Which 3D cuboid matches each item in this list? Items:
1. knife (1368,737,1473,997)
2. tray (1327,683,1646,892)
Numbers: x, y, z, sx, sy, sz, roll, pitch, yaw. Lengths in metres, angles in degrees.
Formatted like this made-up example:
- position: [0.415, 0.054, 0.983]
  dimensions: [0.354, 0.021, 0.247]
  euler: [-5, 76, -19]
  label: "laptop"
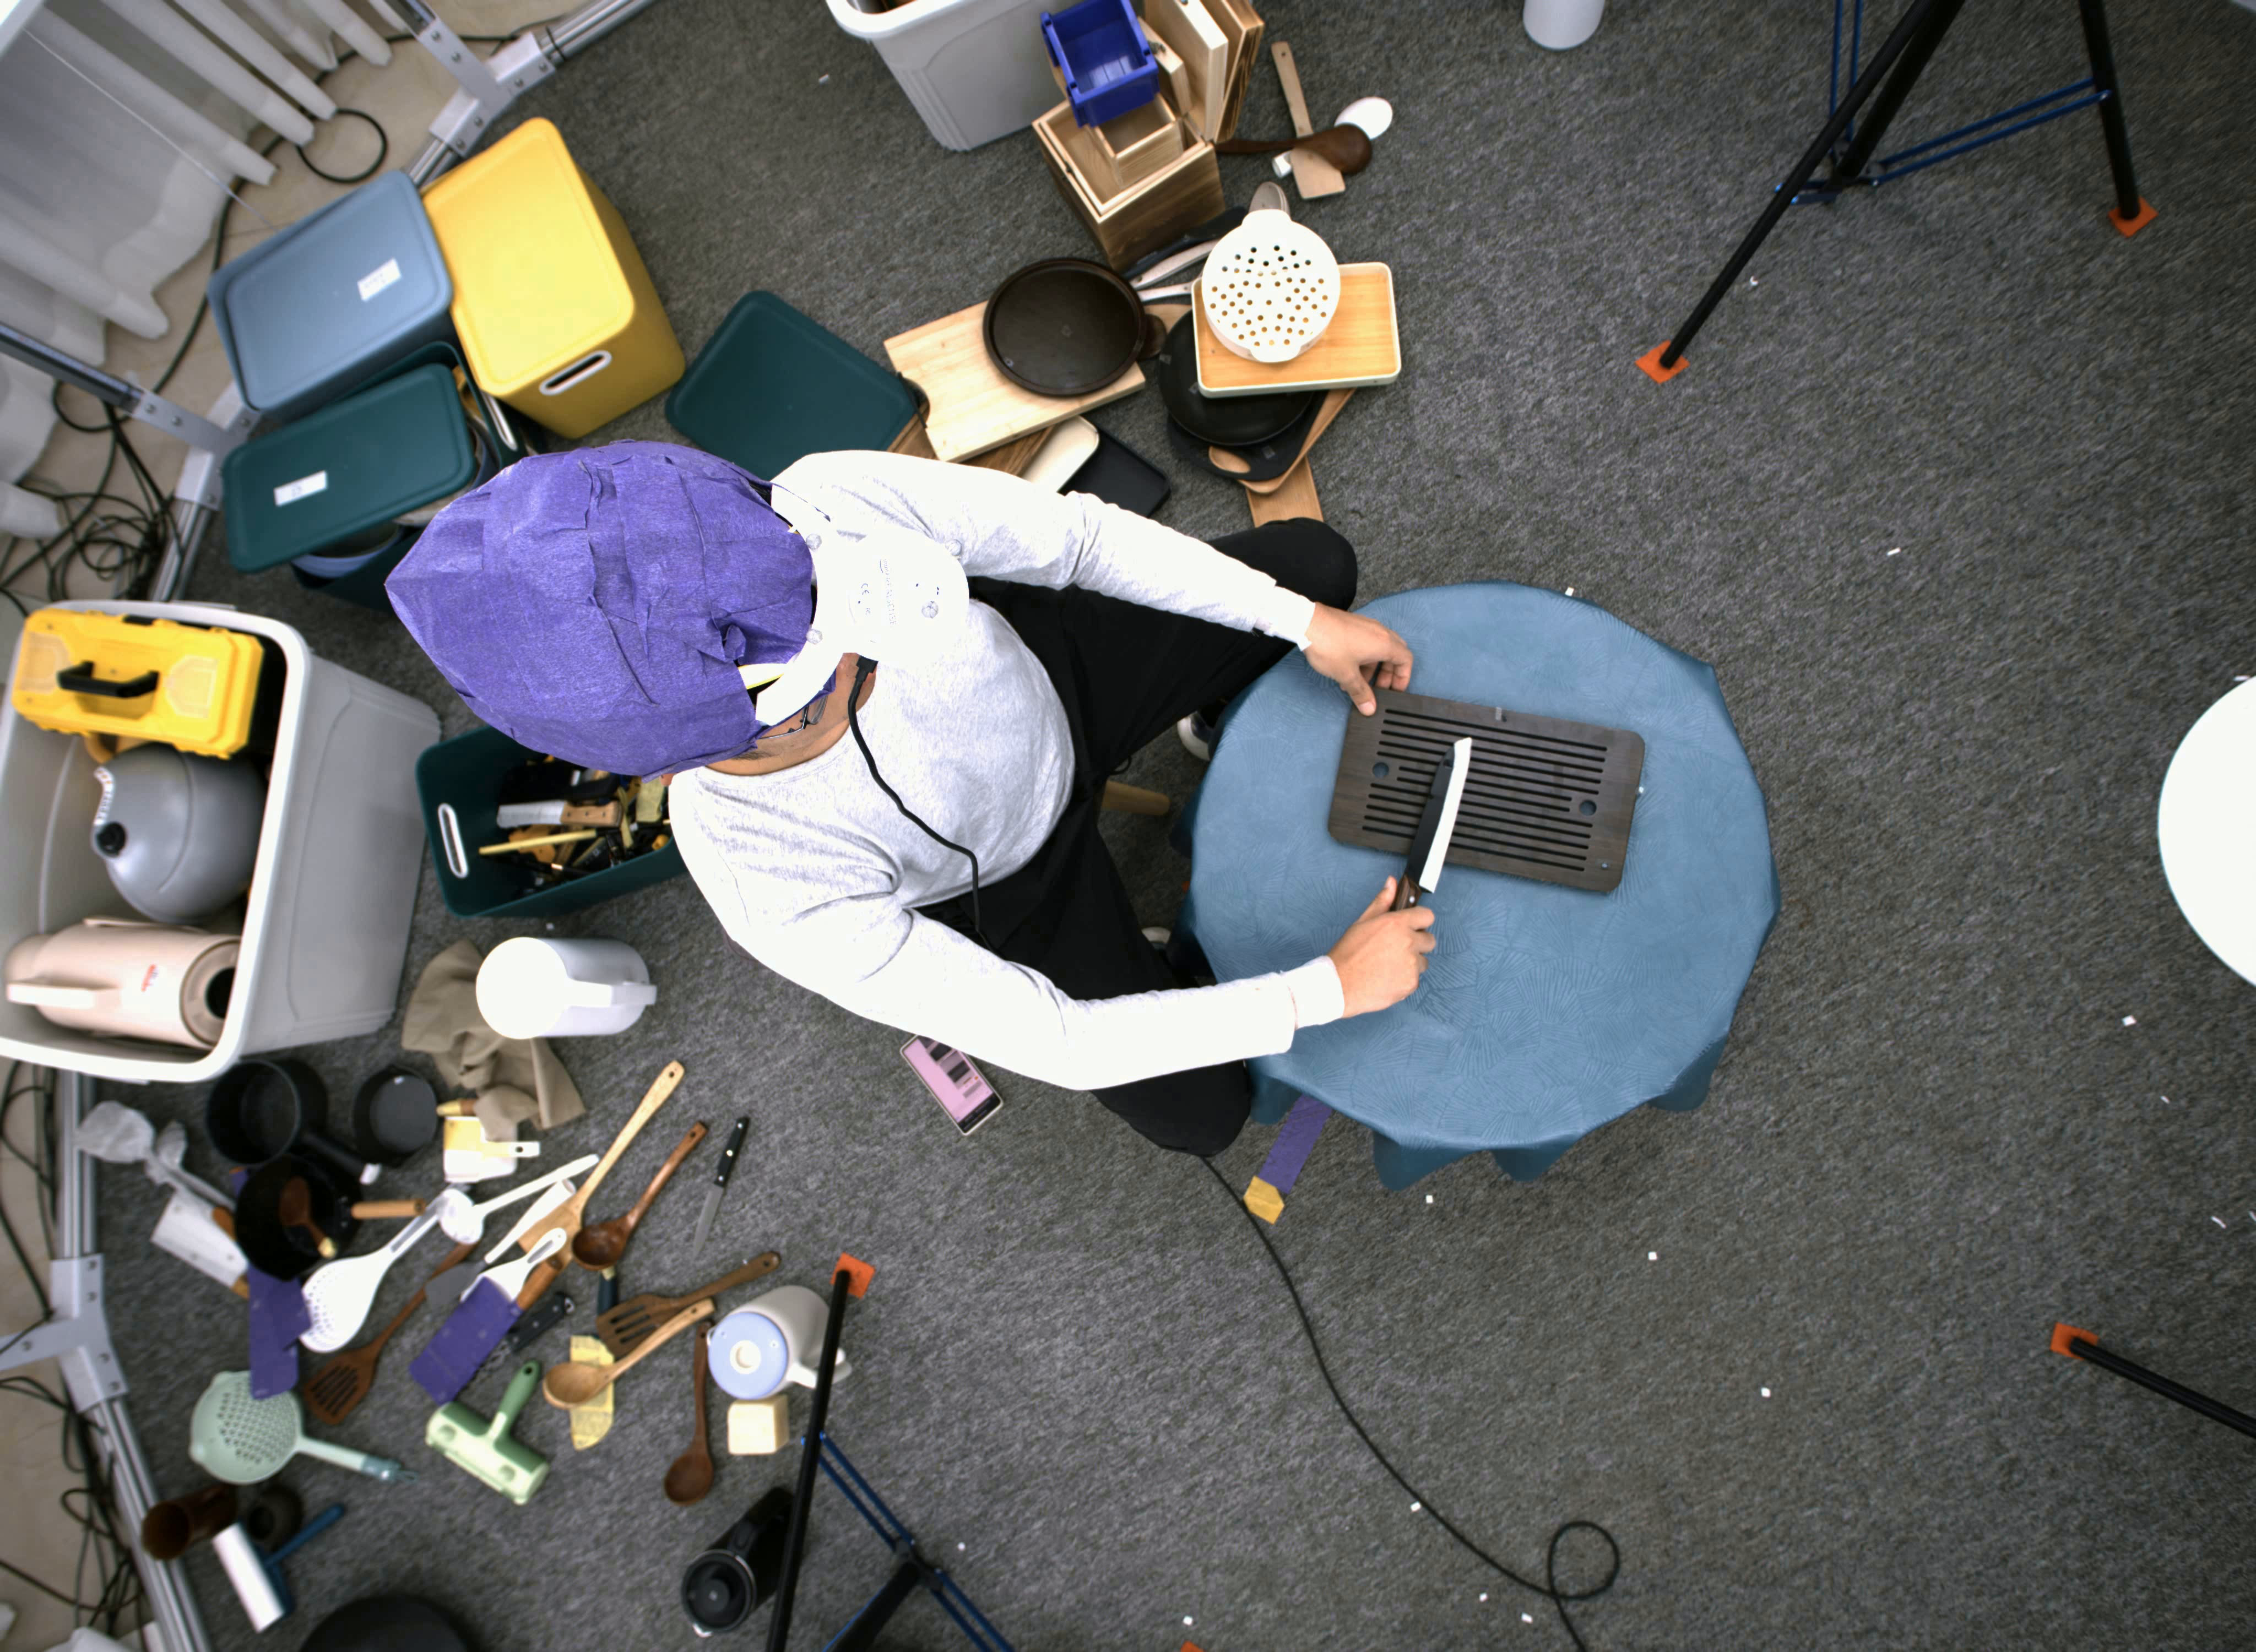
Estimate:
- position: [0.299, 0.038, 1.393]
  dimensions: [0.050, 0.020, 0.287]
  euler: [26, 82, -30]
  label: "knife"
- position: [0.372, -0.045, 1.438]
  dimensions: [0.306, 0.018, 0.170]
  euler: [11, 90, 12]
  label: "tray"
